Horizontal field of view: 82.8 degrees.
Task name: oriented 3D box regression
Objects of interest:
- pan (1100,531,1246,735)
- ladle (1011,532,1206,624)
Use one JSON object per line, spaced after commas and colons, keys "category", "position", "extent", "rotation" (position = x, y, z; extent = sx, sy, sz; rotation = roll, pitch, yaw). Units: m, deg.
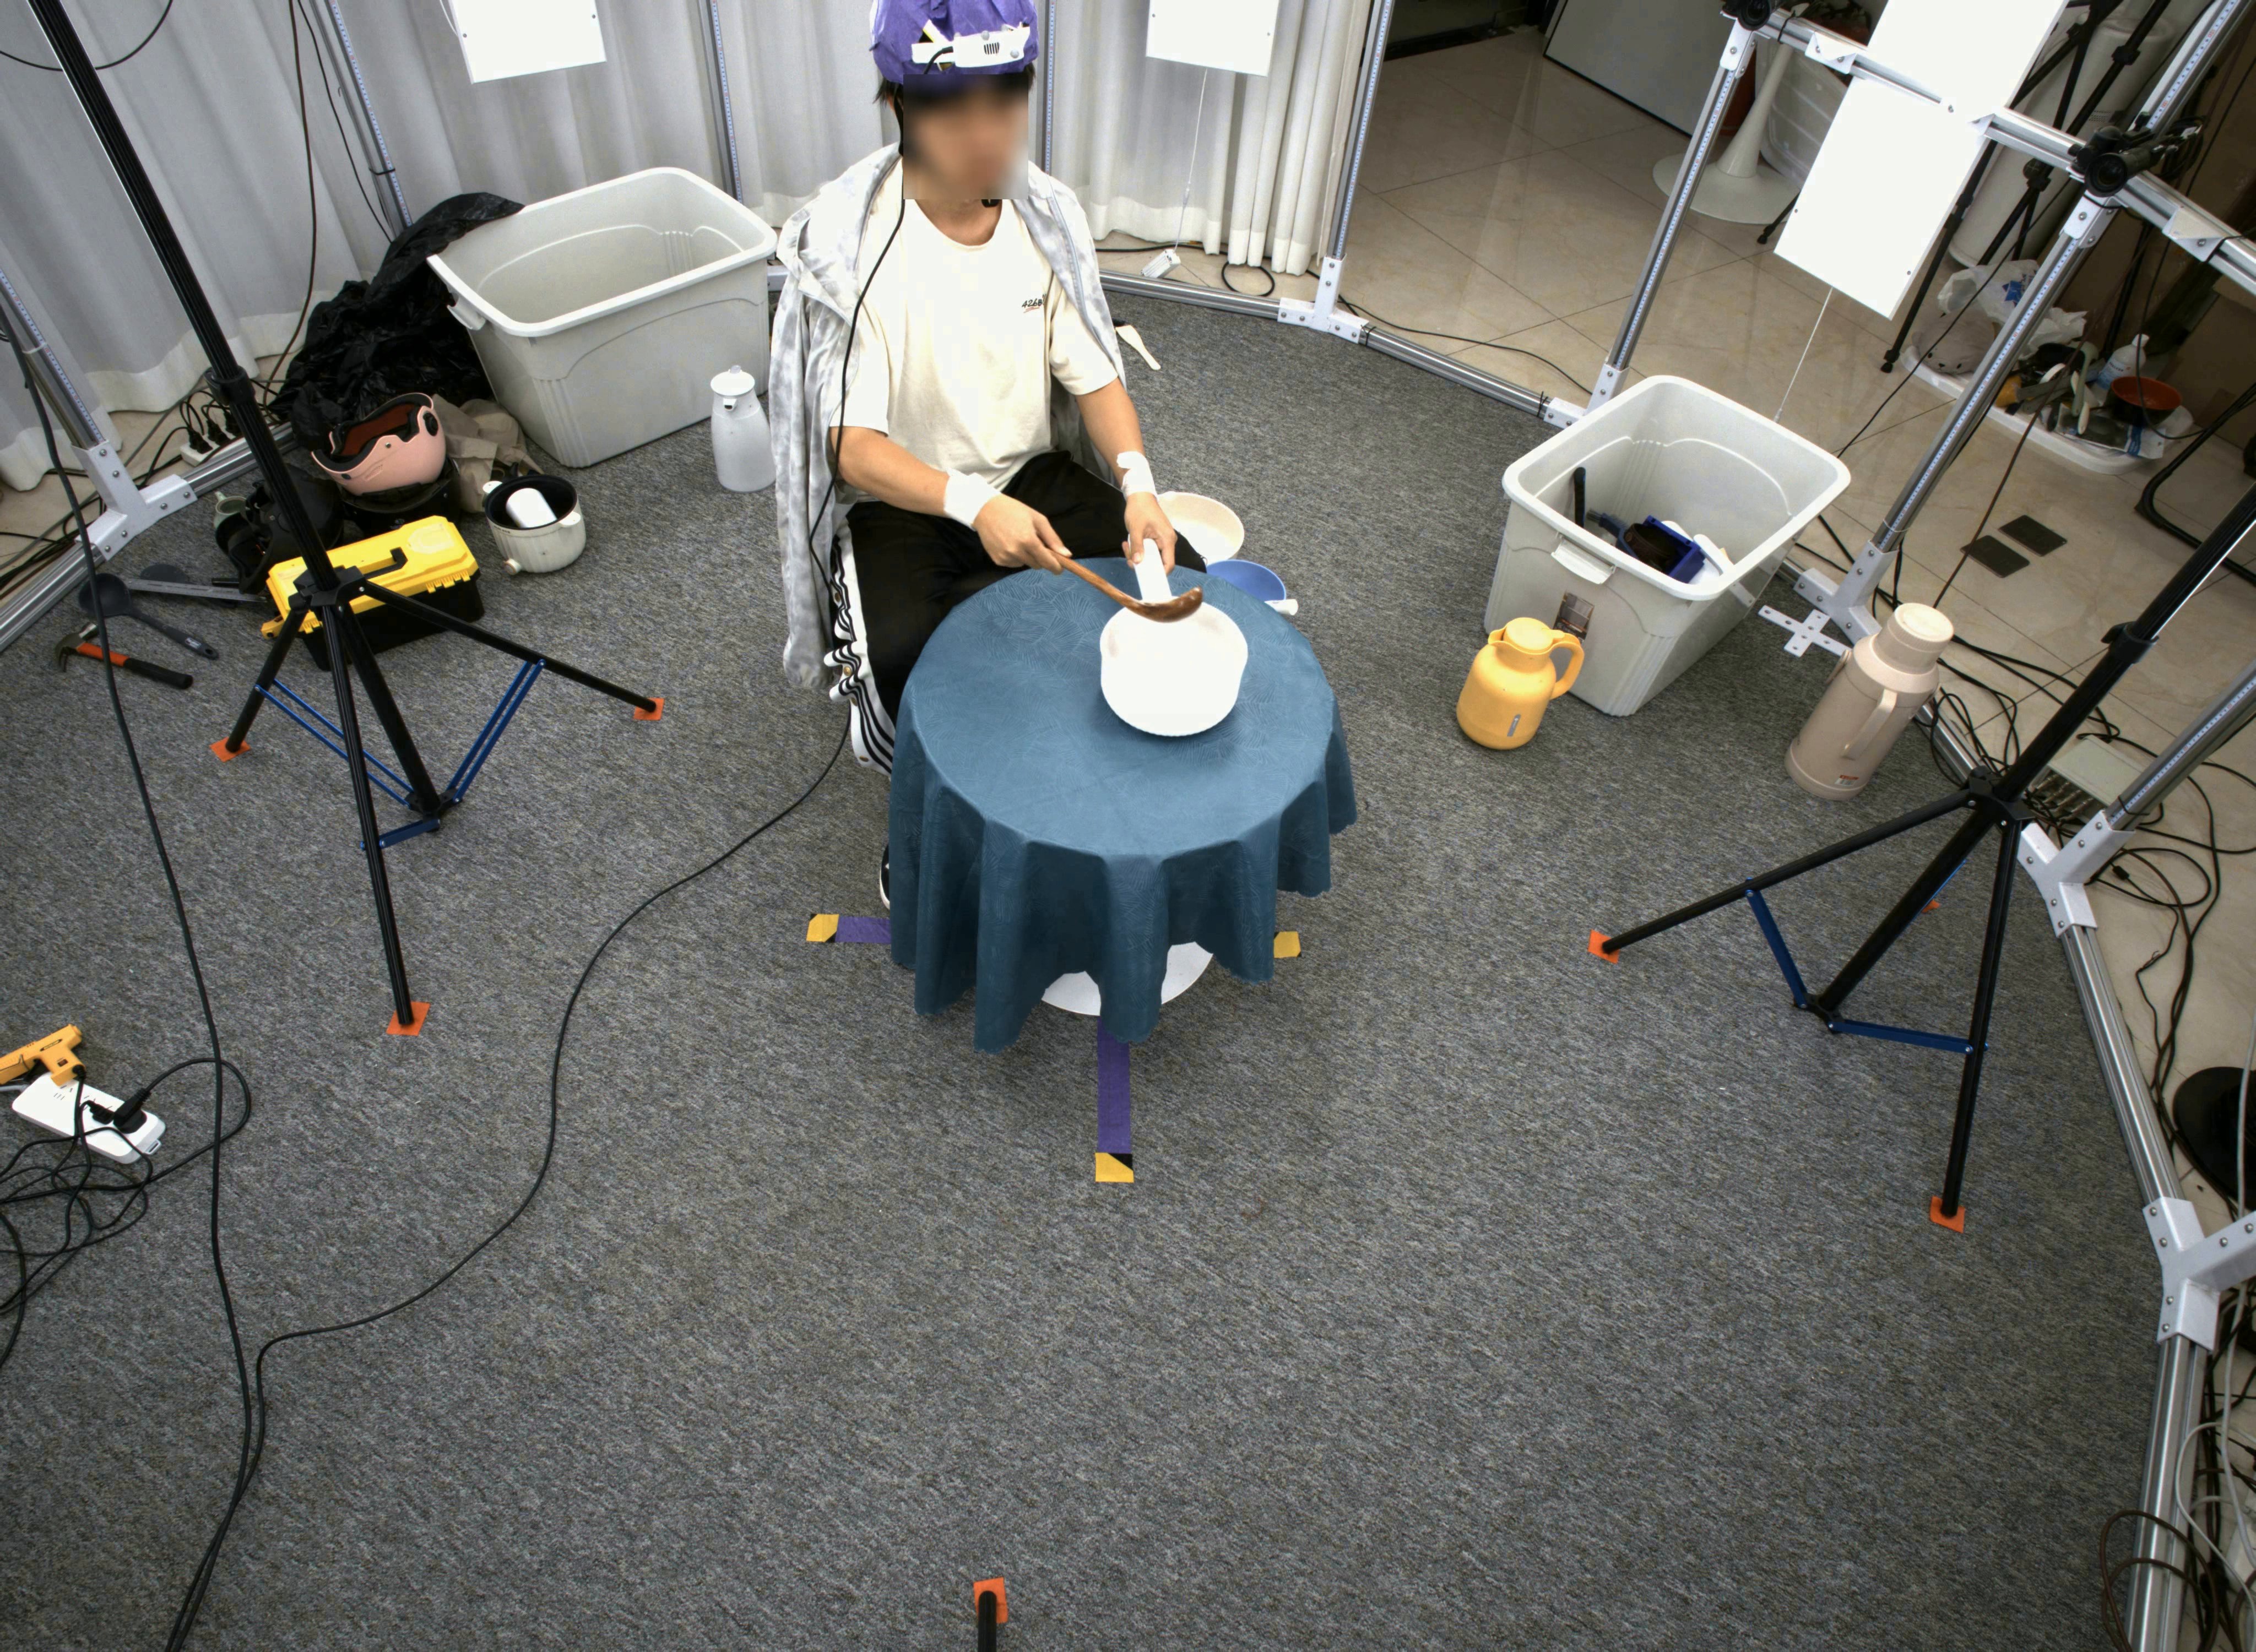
{"category": "pan", "position": [0.048, -0.277, 1.841], "extent": [0.201, 0.099, 0.364], "rotation": [-6, 49, -8]}
{"category": "ladle", "position": [-0.024, -0.352, 1.735], "extent": [0.275, 0.082, 0.076], "rotation": [31, 95, 6]}
